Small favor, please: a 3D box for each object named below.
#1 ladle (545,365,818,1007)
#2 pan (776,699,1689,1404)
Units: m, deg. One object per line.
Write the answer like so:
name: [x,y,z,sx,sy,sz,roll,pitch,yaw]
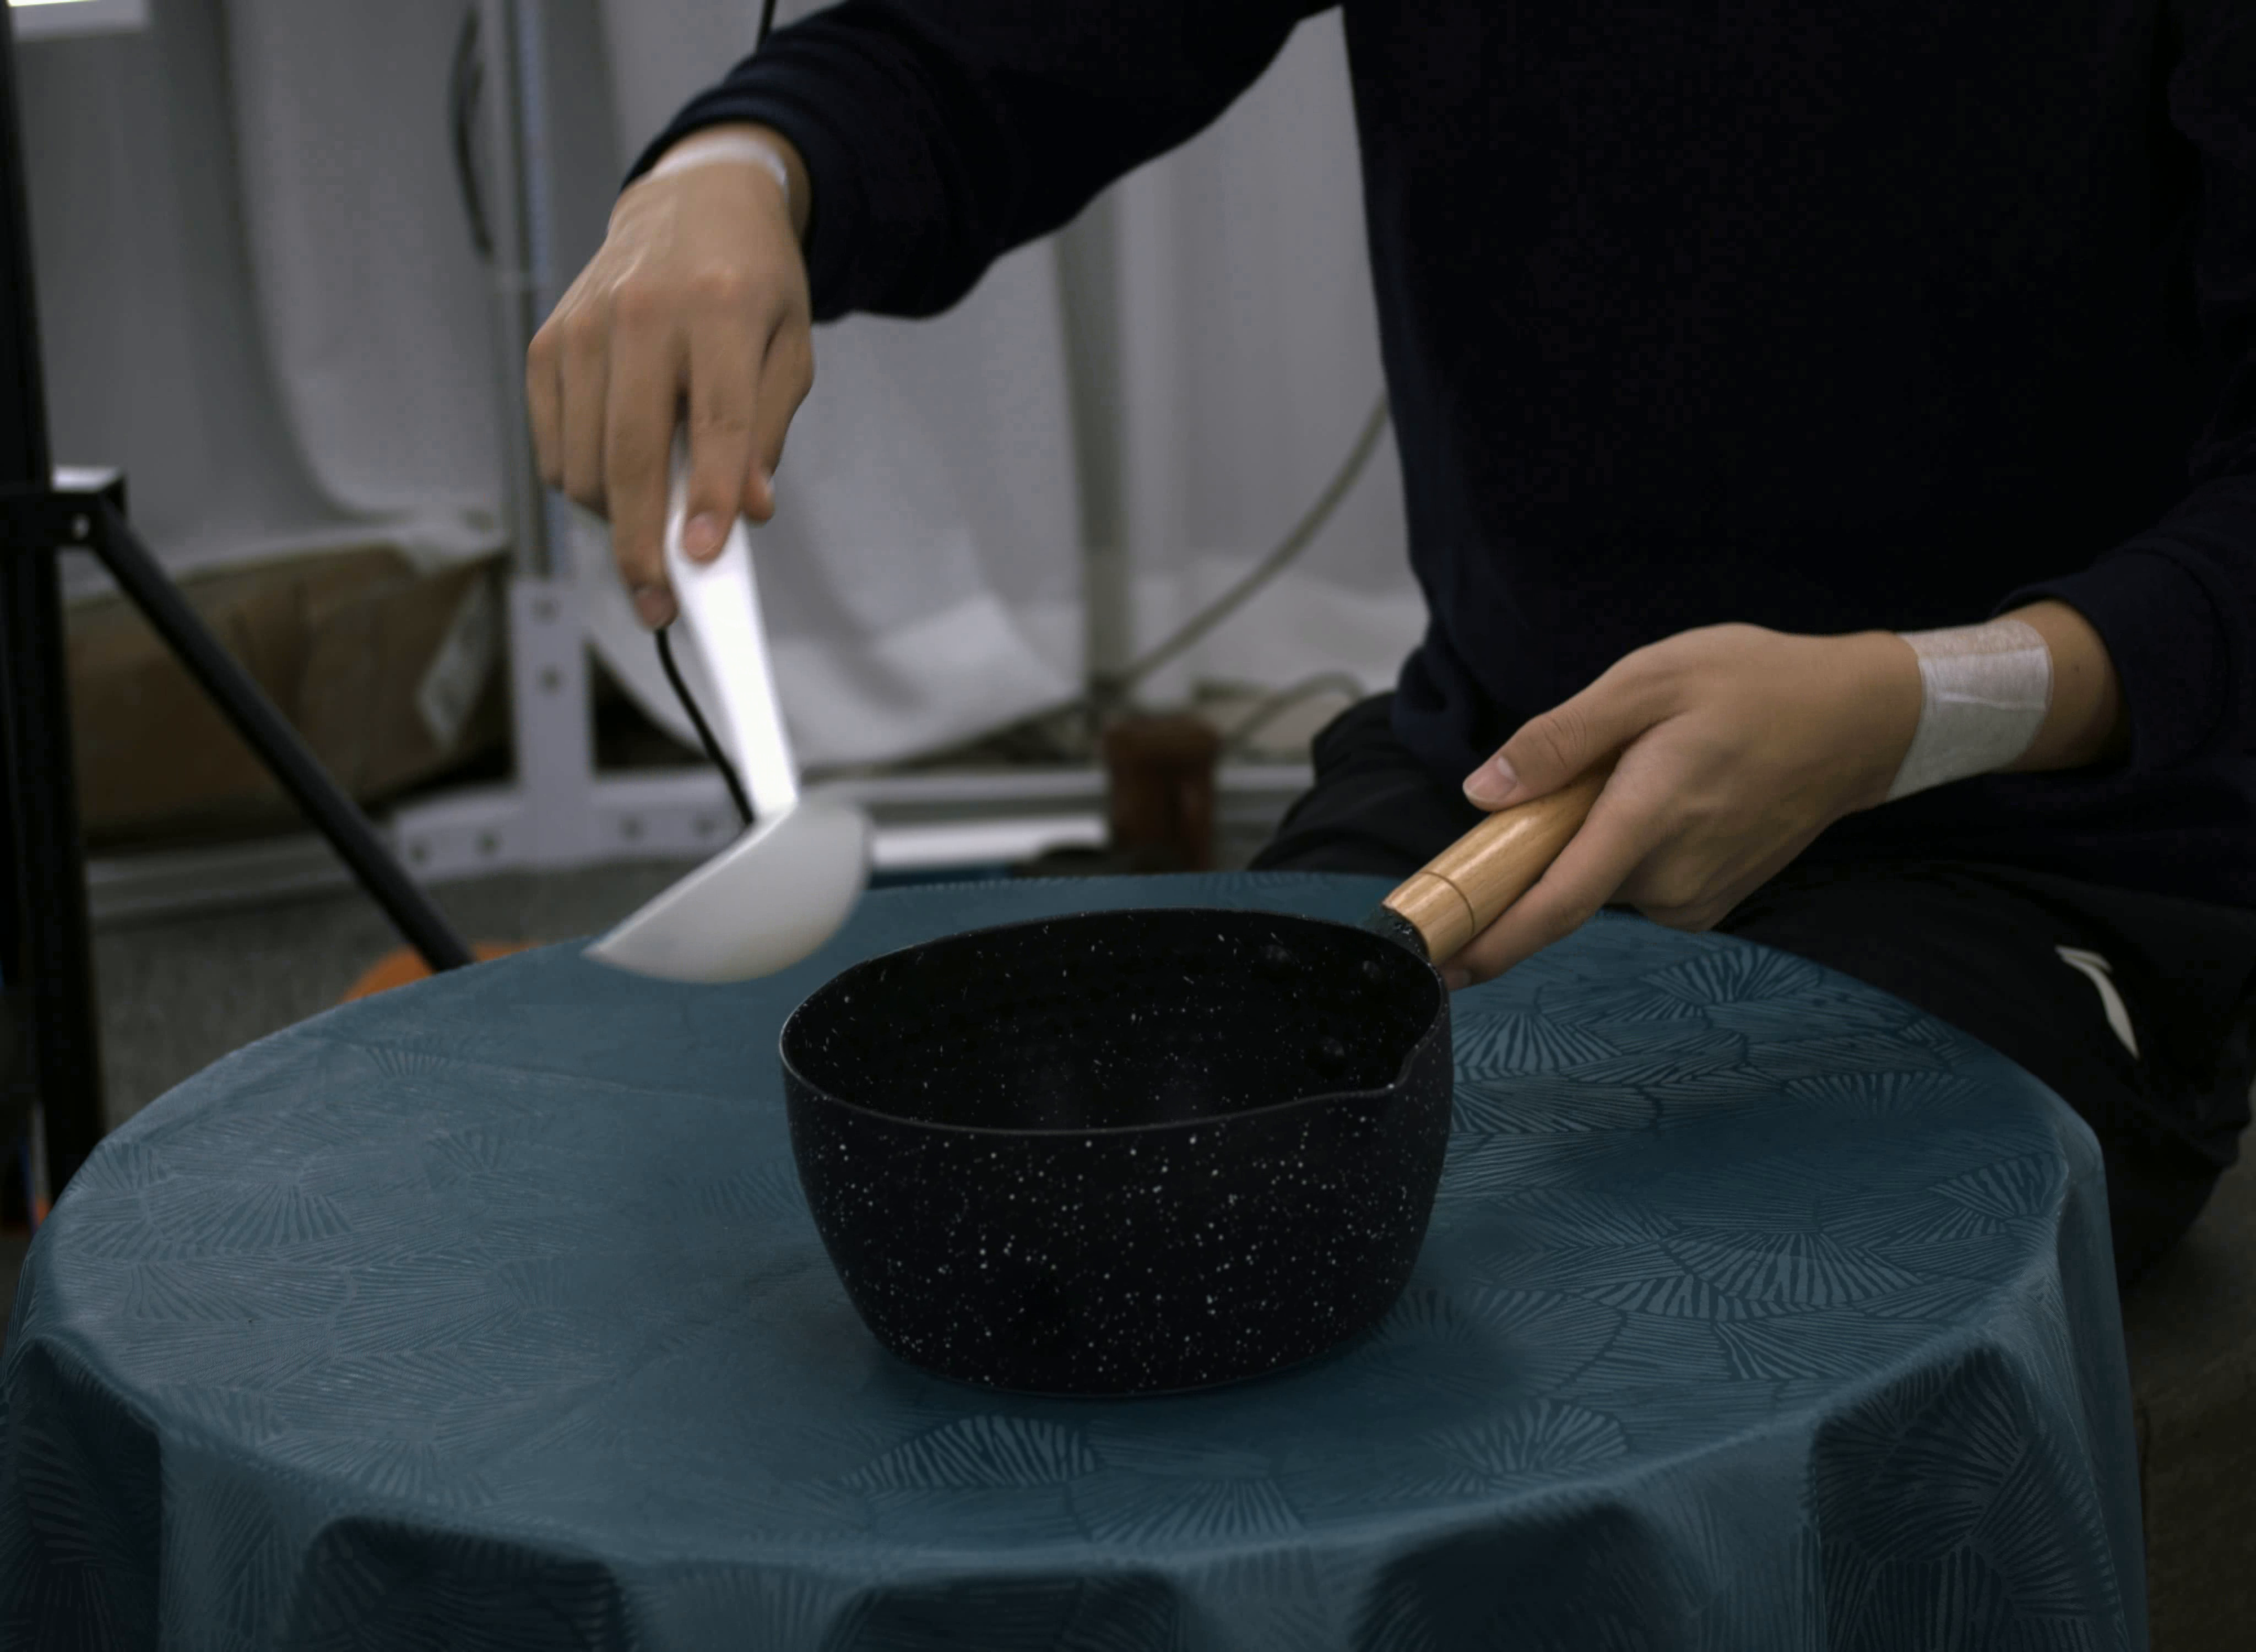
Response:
ladle: [-0.133,-0.050,1.525,0.068,0.091,0.297,36,24,-31]
pan: [0.050,0.059,1.507,0.212,0.108,0.335,10,23,42]
